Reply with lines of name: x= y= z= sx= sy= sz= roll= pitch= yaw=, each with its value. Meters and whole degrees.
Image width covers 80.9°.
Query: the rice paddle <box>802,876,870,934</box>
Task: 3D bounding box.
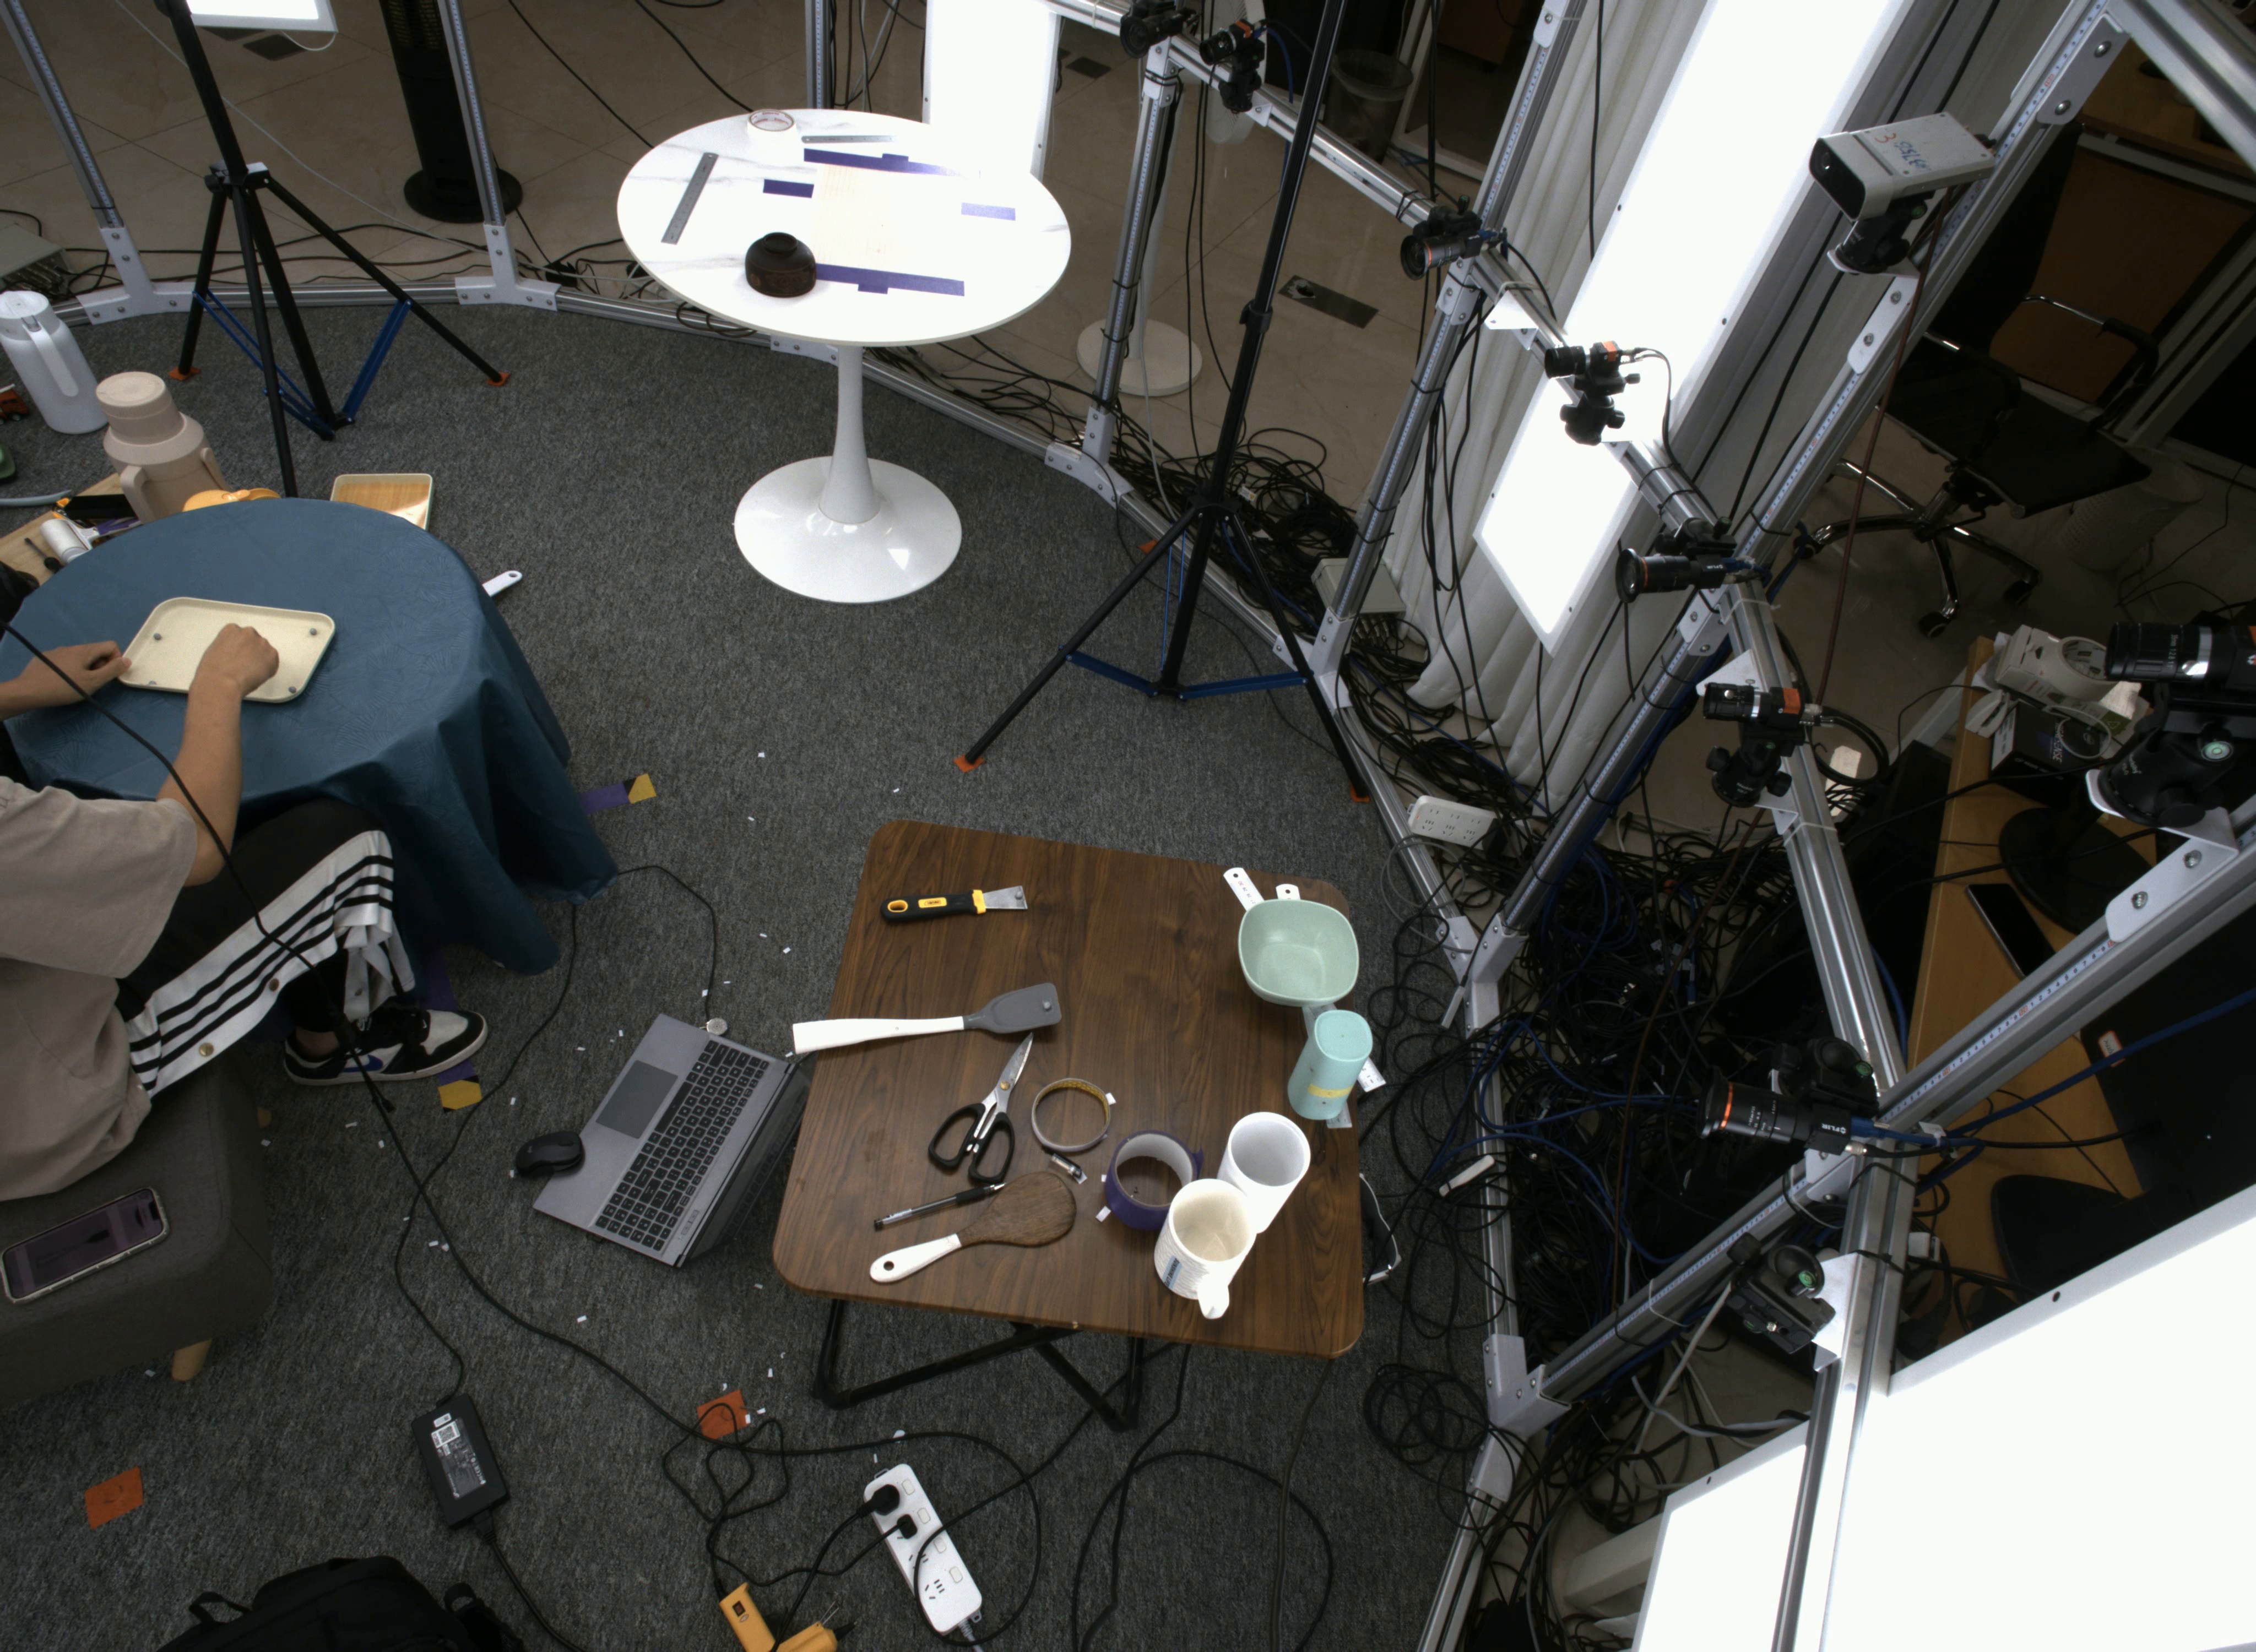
rice paddle: x=-0.352 y=0.085 z=1.578 sx=0.069 sy=0.030 sz=0.198 roll=-10 pitch=17 yaw=-22

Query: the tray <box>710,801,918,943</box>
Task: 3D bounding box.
tray: x=-0.405 y=0.058 z=1.685 sx=0.237 sy=0.018 sz=0.169 roll=18 pitch=51 yaw=1
